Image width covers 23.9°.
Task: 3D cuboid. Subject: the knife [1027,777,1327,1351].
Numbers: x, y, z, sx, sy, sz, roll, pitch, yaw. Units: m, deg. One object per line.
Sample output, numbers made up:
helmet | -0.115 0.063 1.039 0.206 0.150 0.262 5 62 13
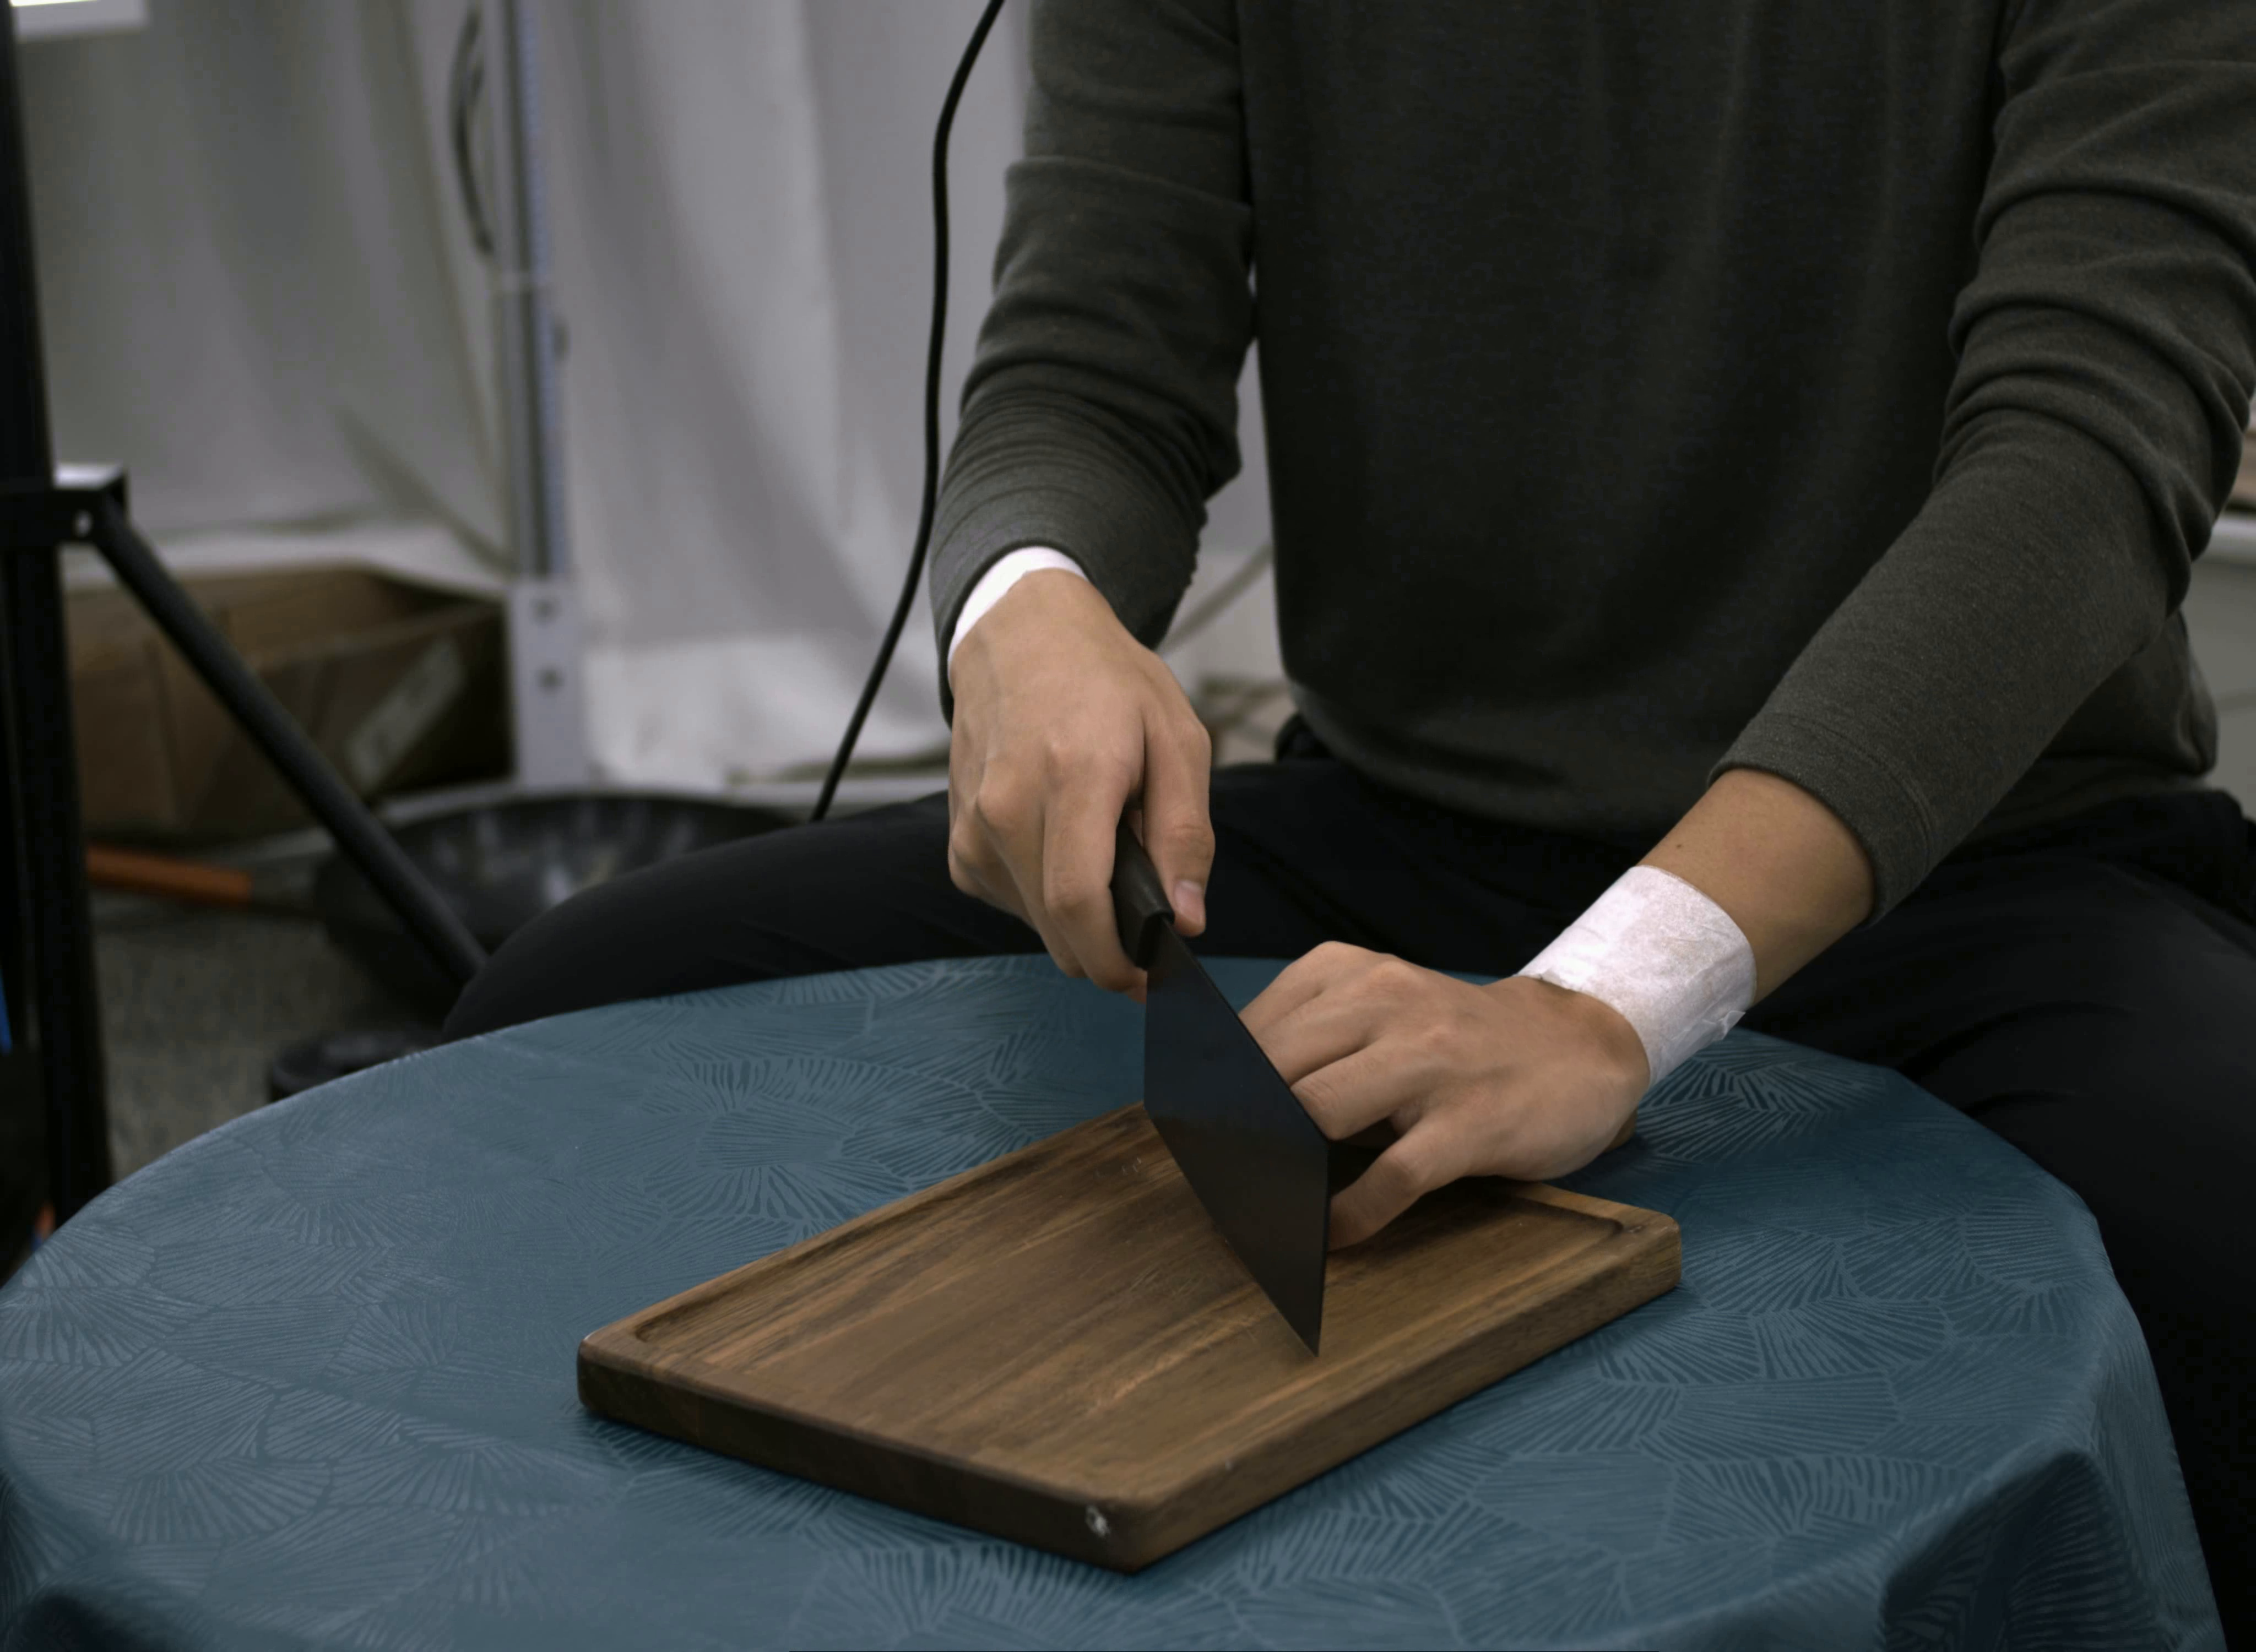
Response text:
knife | 0.014 0.058 1.510 0.020 0.081 0.307 -2 24 -14

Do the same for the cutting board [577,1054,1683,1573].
cutting board | 0.035 0.120 1.475 0.205 0.023 0.344 11 21 38
